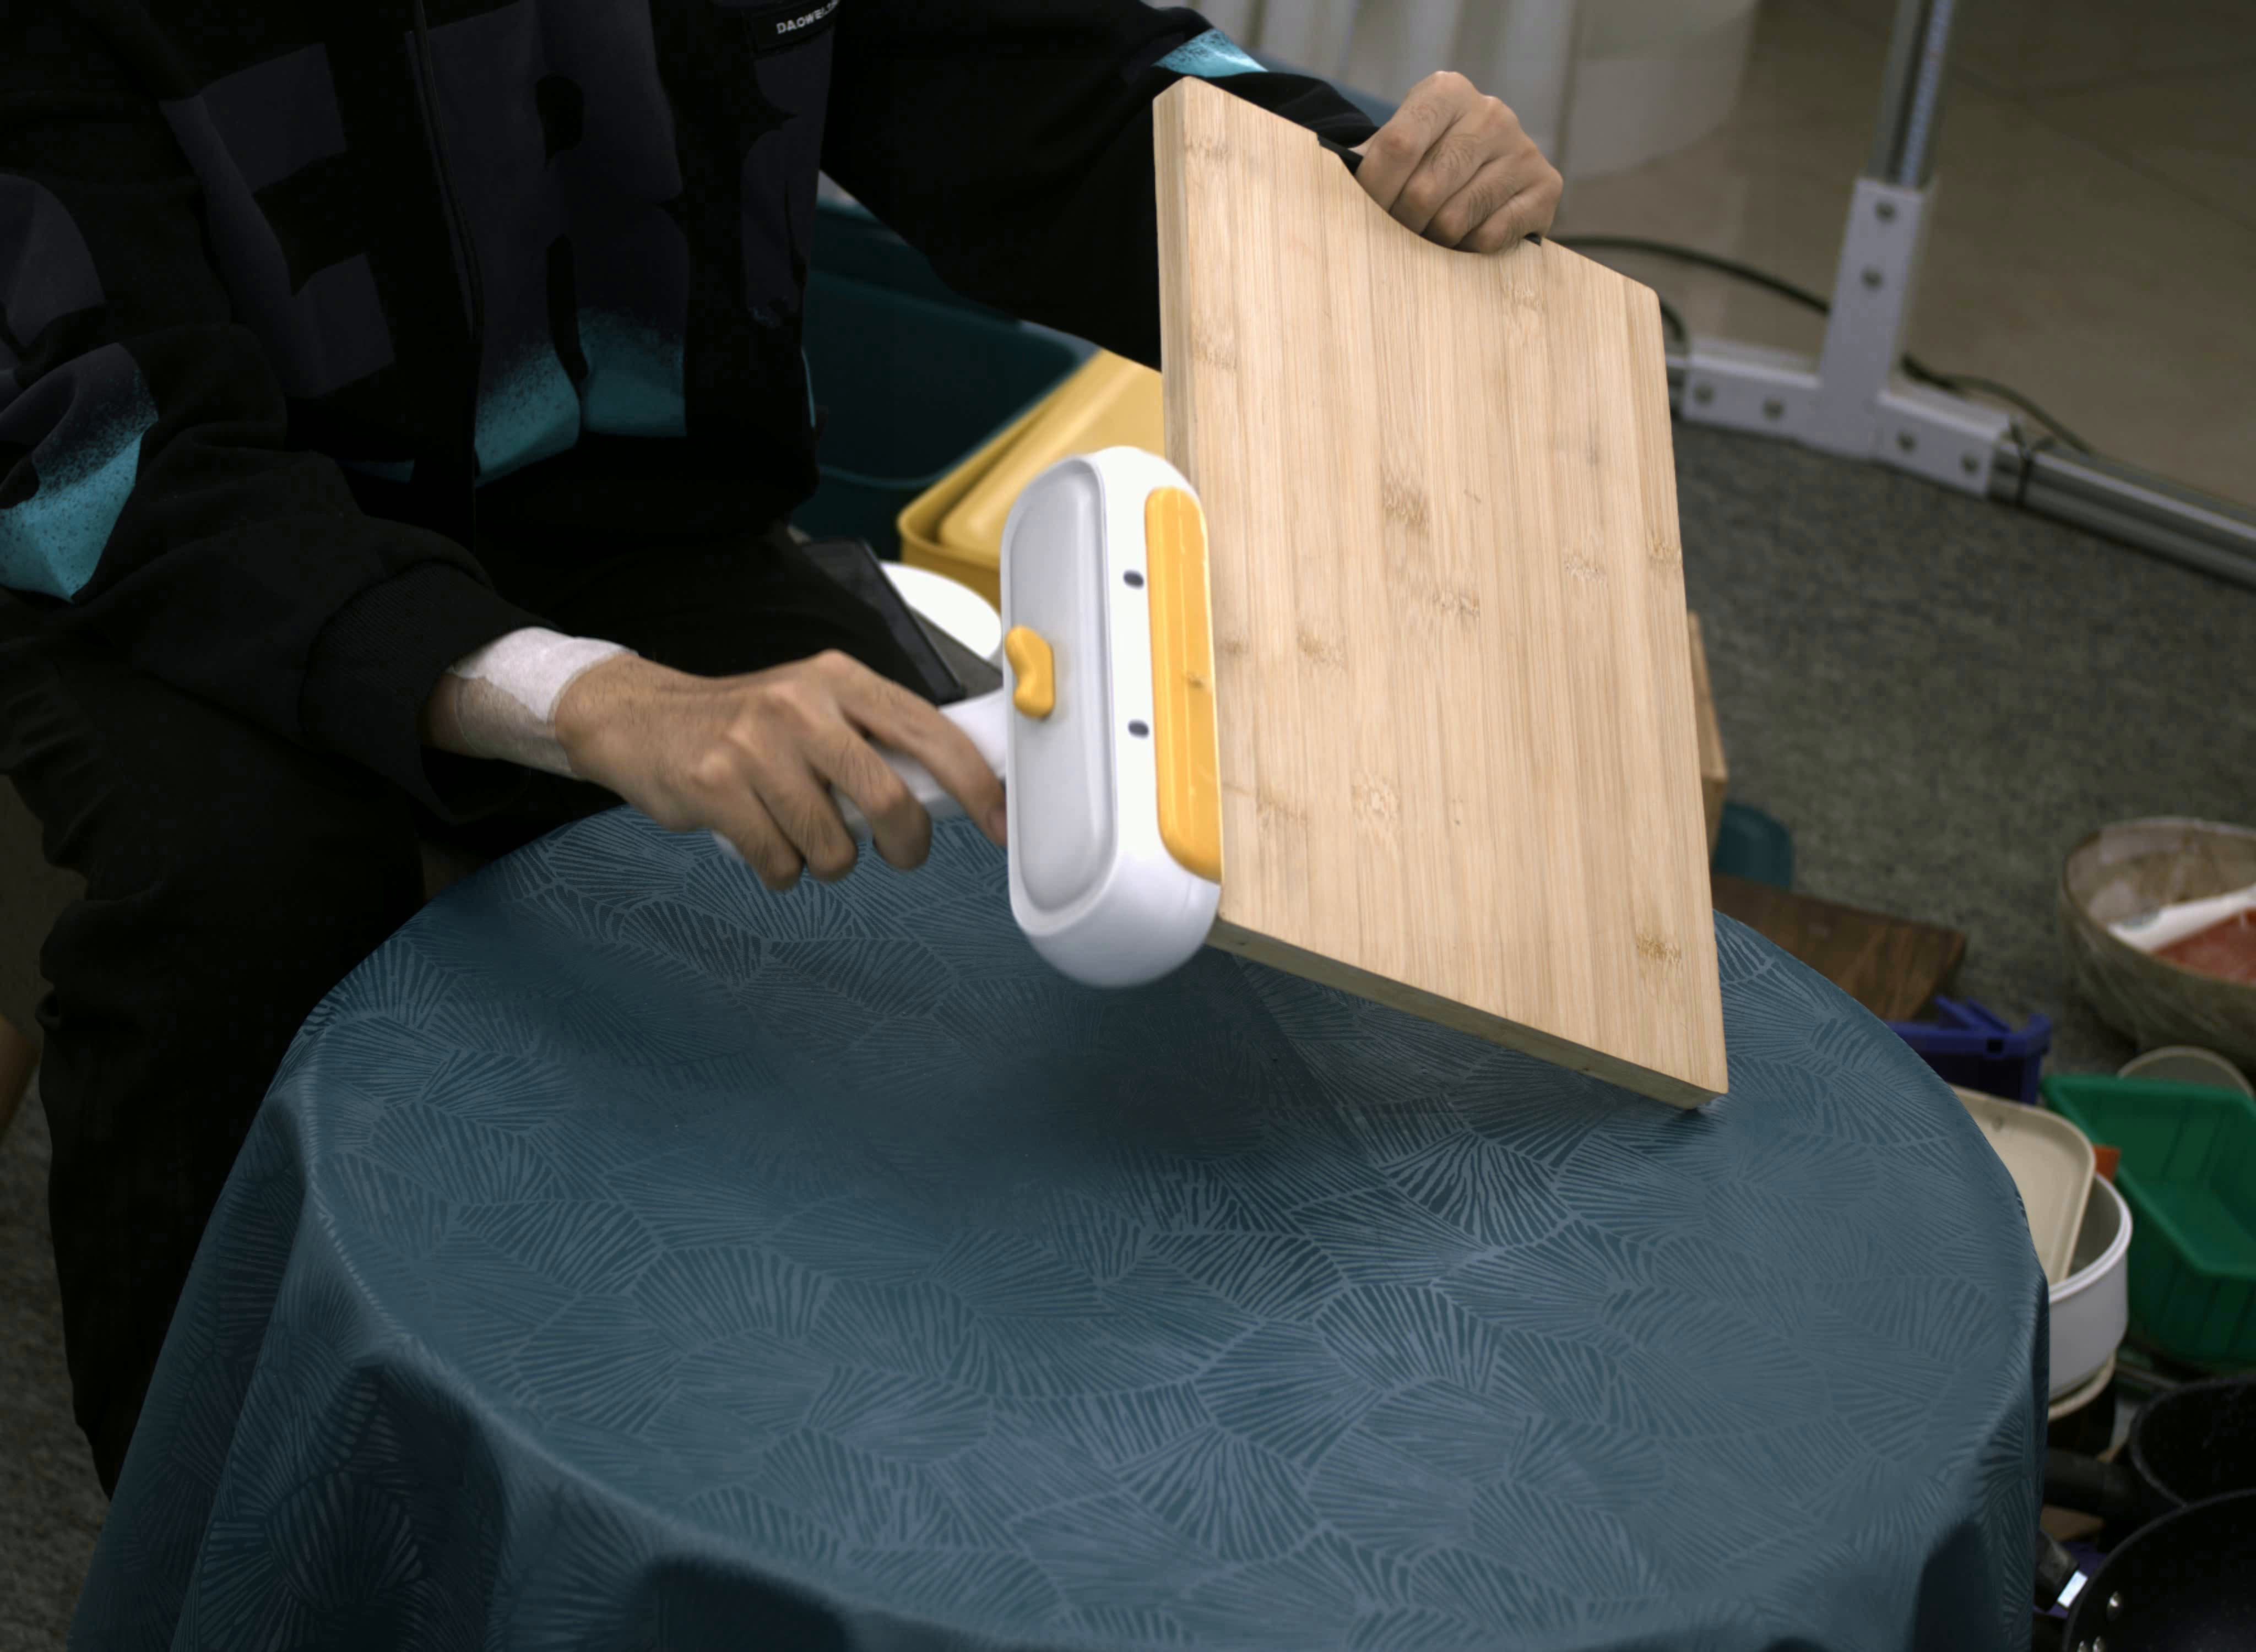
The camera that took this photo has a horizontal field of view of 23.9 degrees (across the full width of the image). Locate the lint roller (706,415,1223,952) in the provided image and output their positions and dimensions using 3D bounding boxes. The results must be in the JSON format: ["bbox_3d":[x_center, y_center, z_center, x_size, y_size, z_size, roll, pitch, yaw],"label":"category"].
[{"bbox_3d":[-0.057,-0.029,1.809,0.073,0.192,0.194,24,48,-46],"label":"lint roller"}]

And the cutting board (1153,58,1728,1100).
[{"bbox_3d":[0.110,-0.089,1.903,0.248,0.023,0.351,20,55,-35],"label":"cutting board"}]
